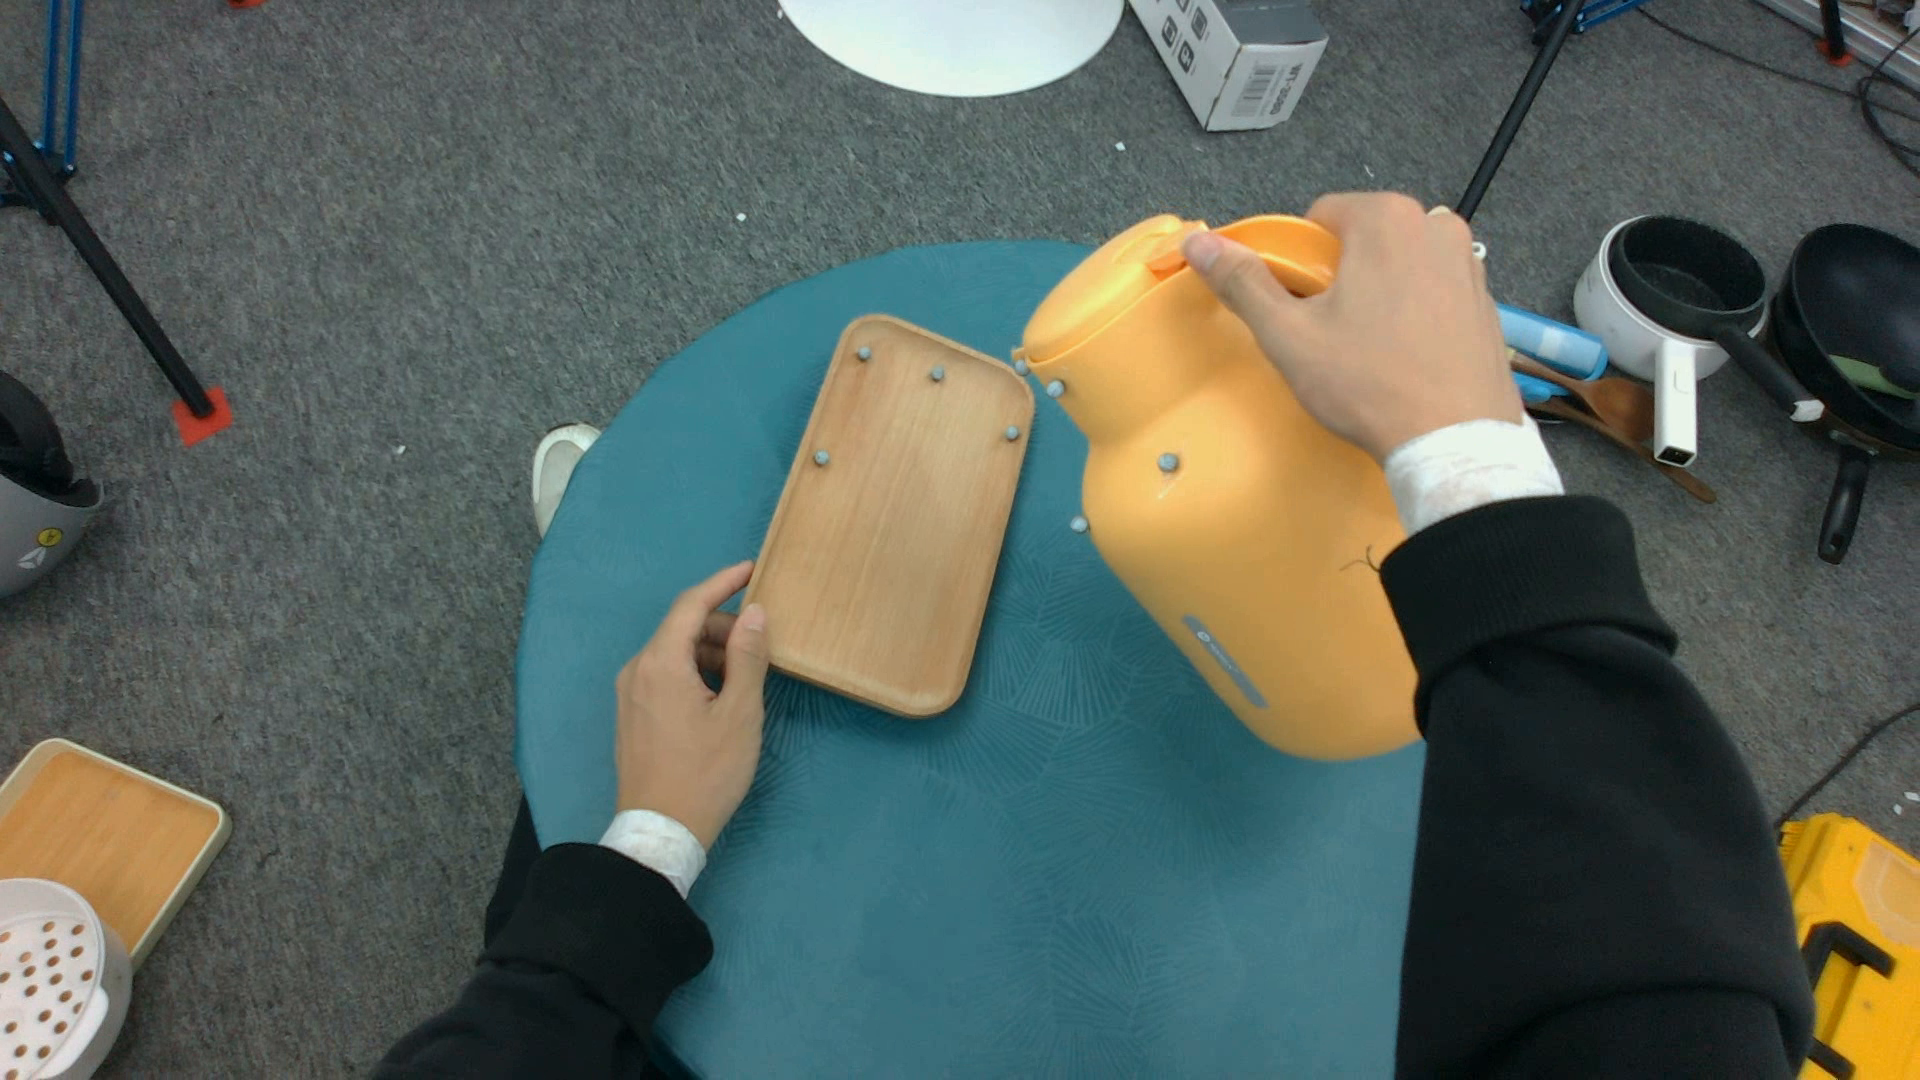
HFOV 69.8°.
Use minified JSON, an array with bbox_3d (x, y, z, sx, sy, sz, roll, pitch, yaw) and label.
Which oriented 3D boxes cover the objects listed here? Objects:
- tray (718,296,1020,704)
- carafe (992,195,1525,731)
[{"bbox_3d":[-0.045,-0.029,0.779,0.130,0.023,0.252,20,56,-7],"label":"tray"},{"bbox_3d":[0.142,-0.043,0.634,0.260,0.201,0.164,43,64,-16],"label":"carafe"}]
